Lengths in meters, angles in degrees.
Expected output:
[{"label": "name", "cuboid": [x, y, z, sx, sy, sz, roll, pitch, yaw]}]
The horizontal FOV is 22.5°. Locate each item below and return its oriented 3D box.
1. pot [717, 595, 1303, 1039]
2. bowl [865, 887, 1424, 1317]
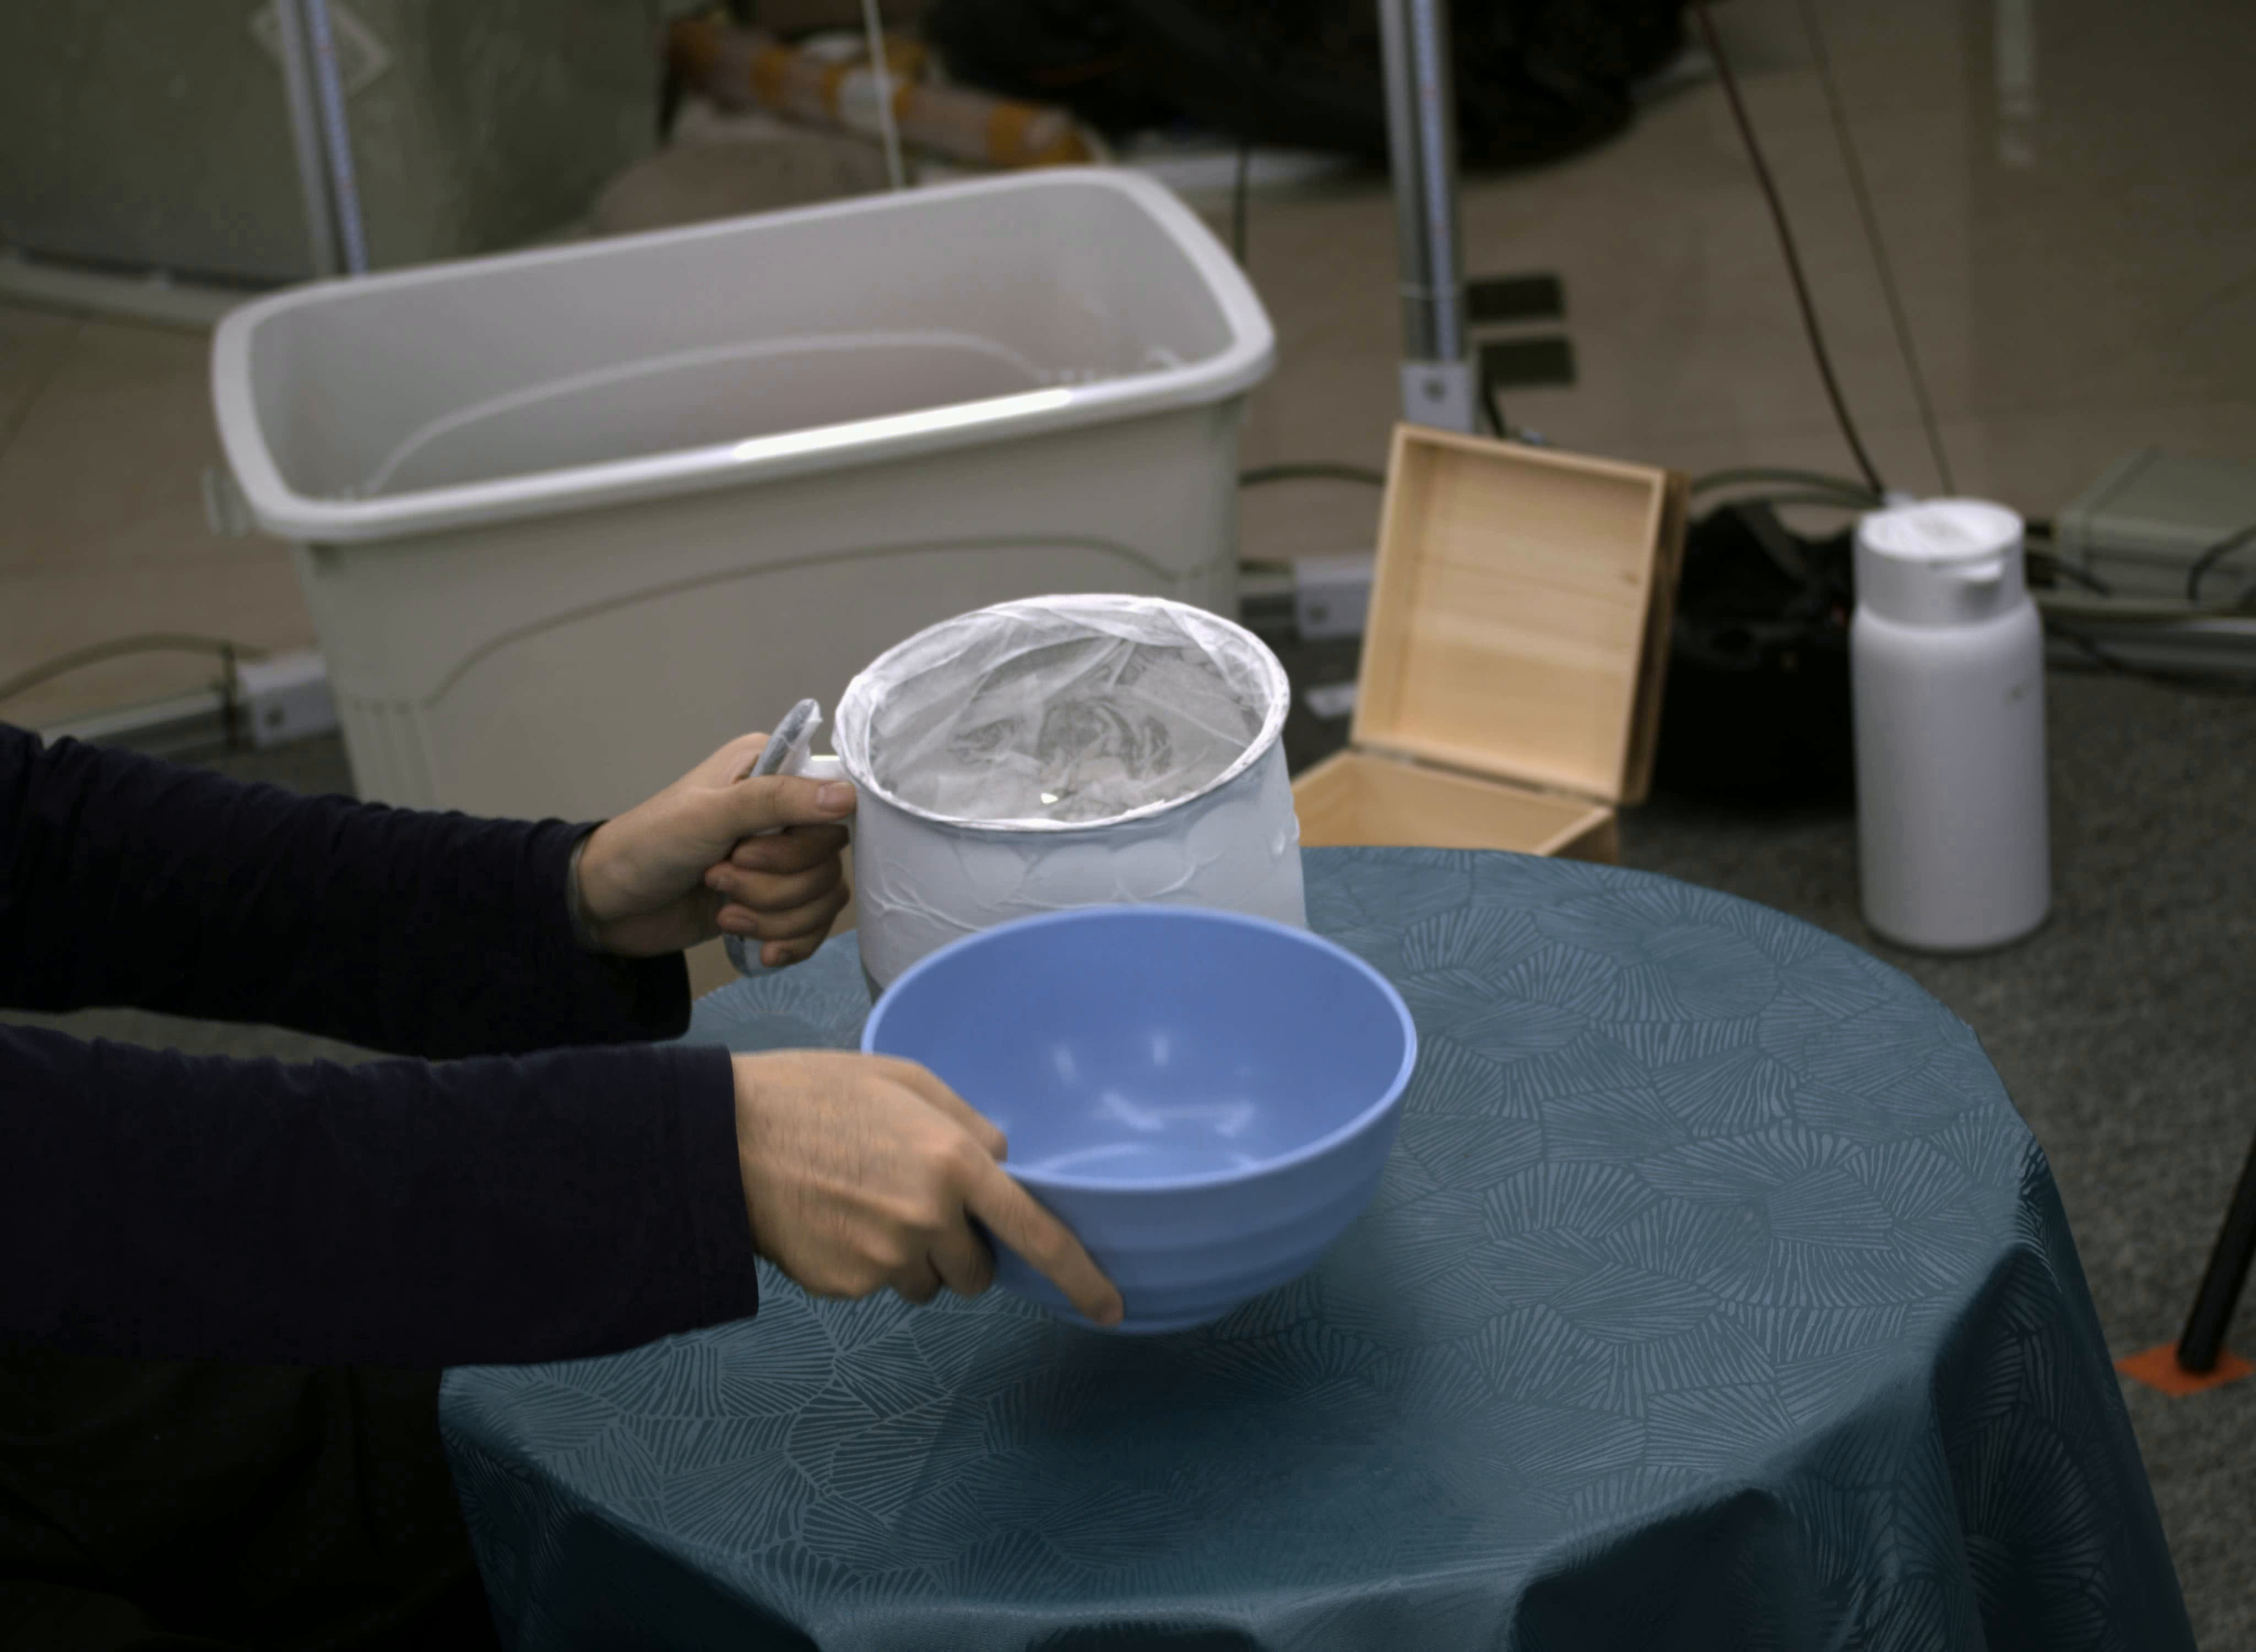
[{"label": "pot", "cuboid": [-0.048, 0.007, 2.214, 0.233, 0.139, 0.176, -1, 30, 5]}, {"label": "bowl", "cuboid": [0.004, 0.110, 2.014, 0.196, 0.097, 0.193, 2, 30, -1]}]
